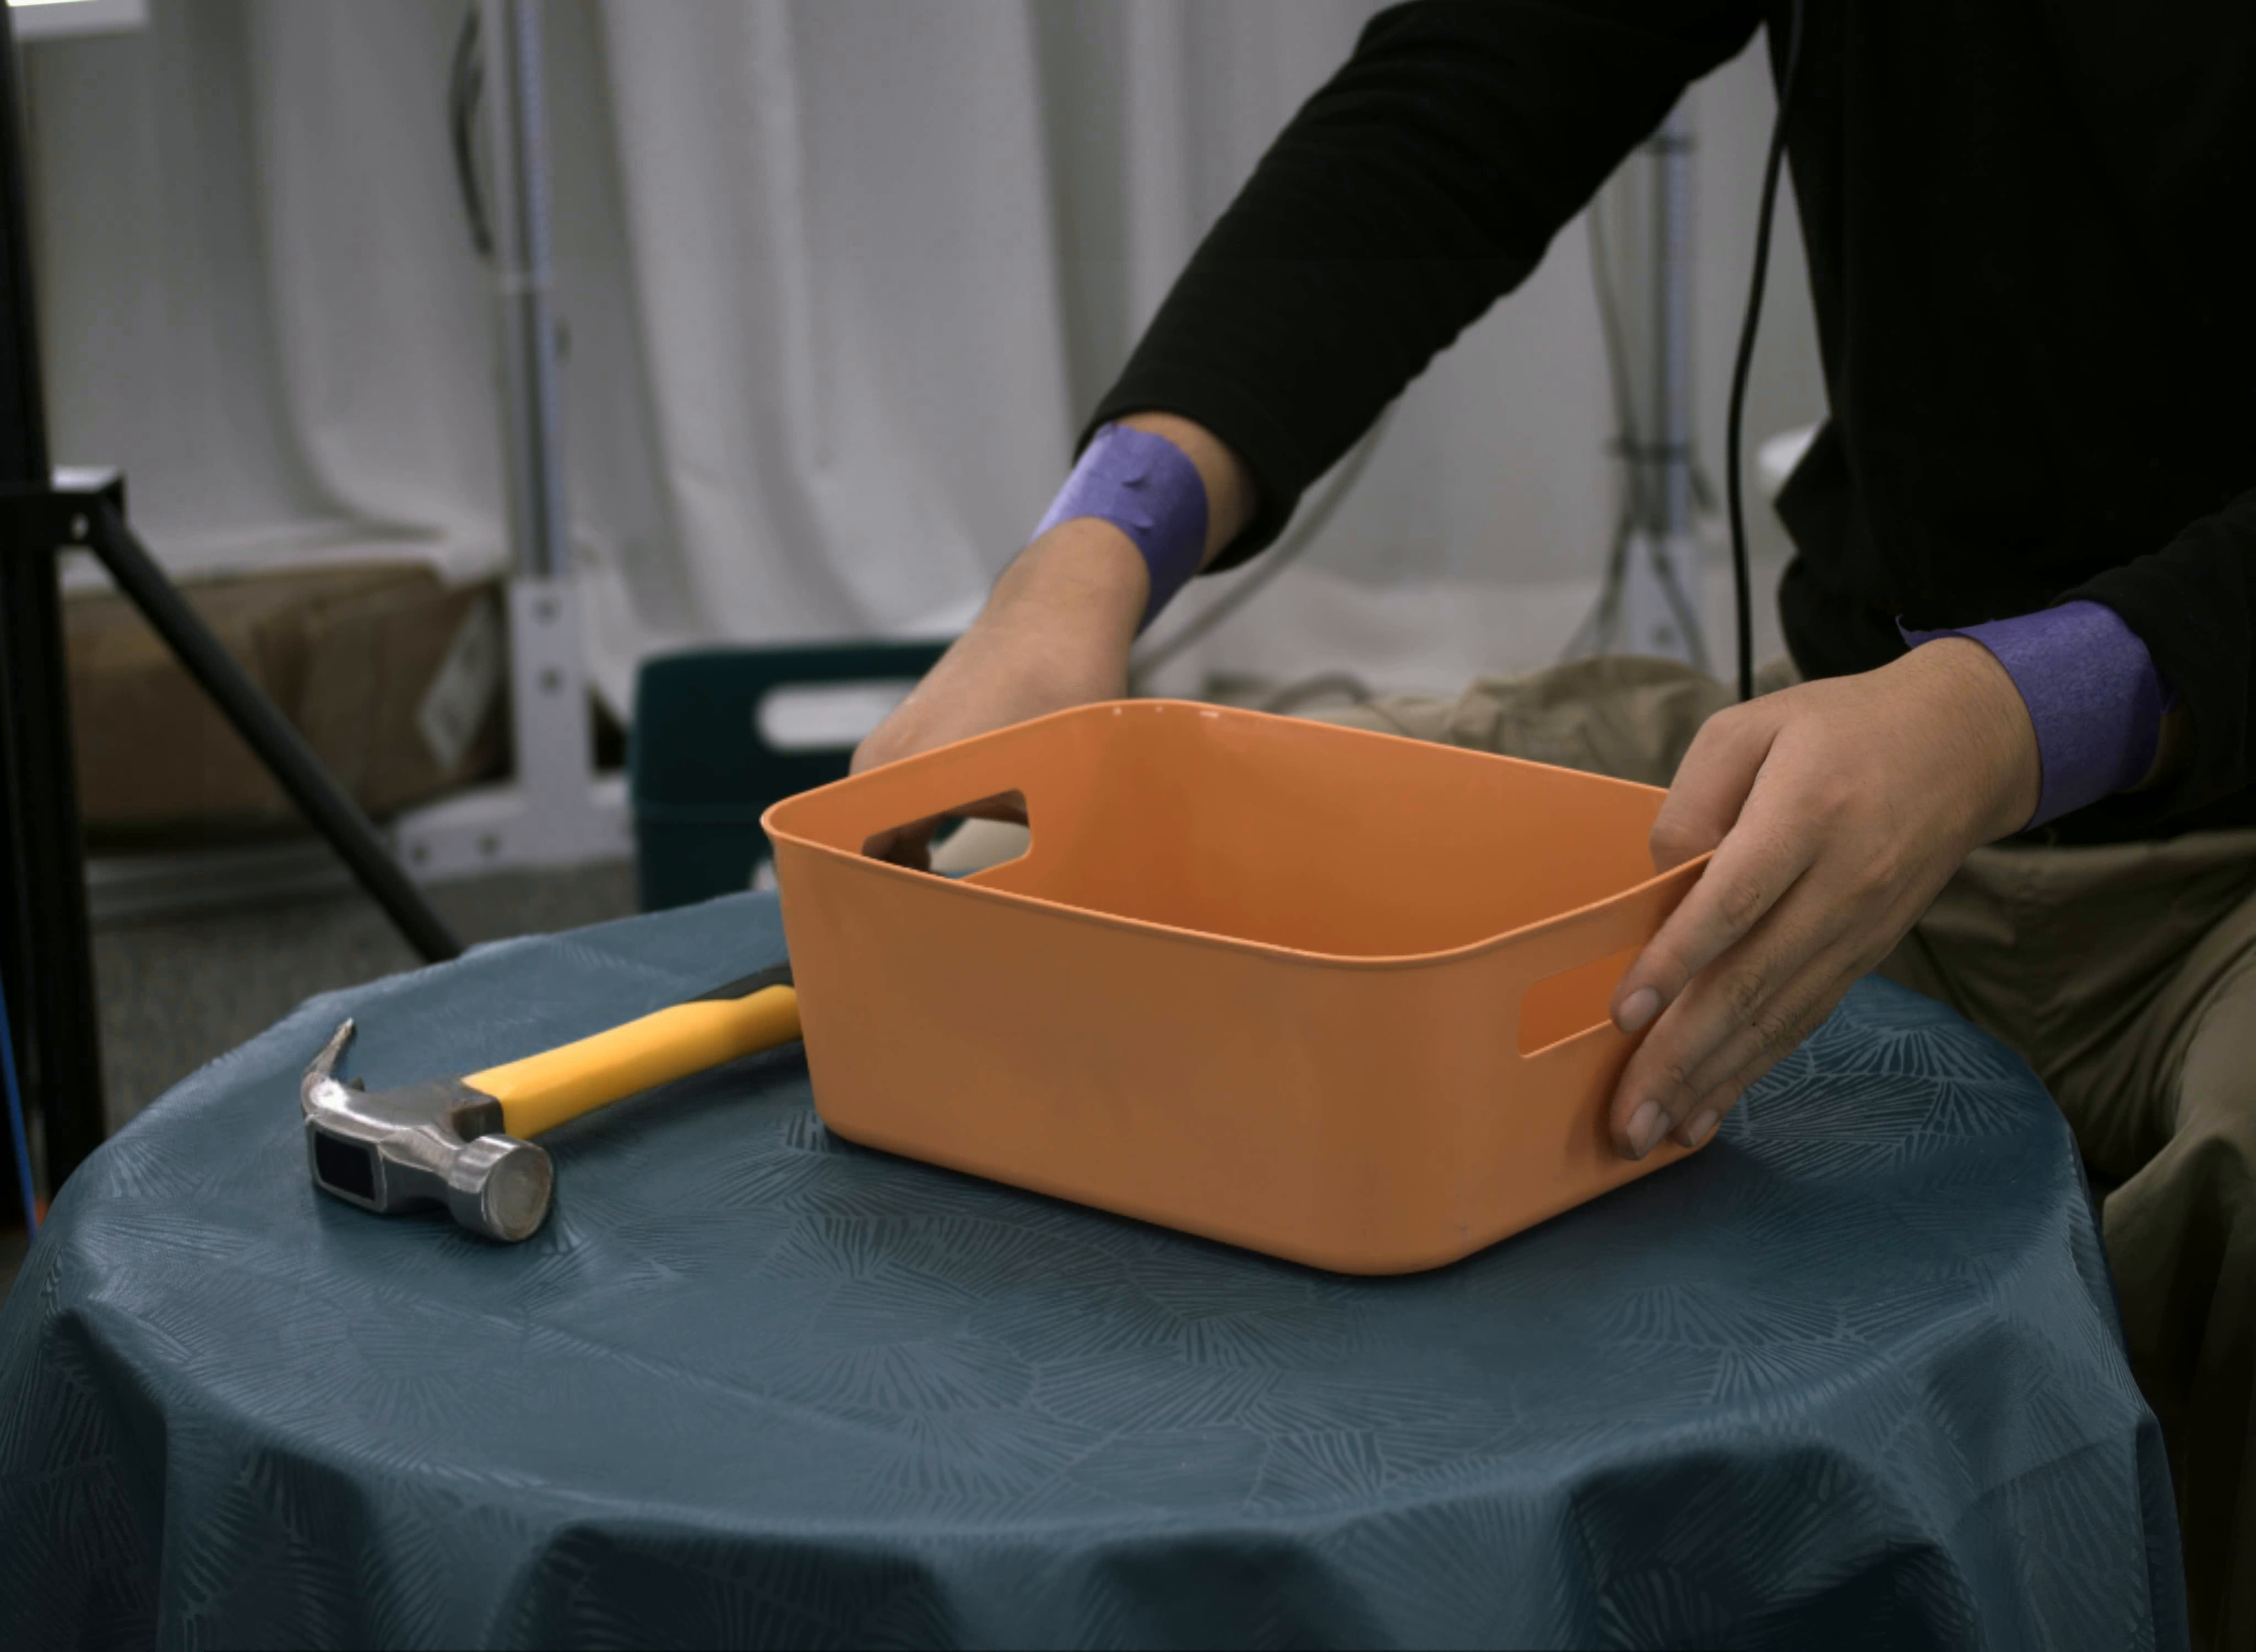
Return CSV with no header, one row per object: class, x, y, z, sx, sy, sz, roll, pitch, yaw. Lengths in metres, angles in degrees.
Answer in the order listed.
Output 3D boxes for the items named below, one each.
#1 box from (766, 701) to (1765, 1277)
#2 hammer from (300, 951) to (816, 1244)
box,0.040,0.045,1.583,0.279,0.102,0.195,12,21,41
hammer,-0.114,0.056,1.680,0.331,0.032,0.134,-20,23,-41
